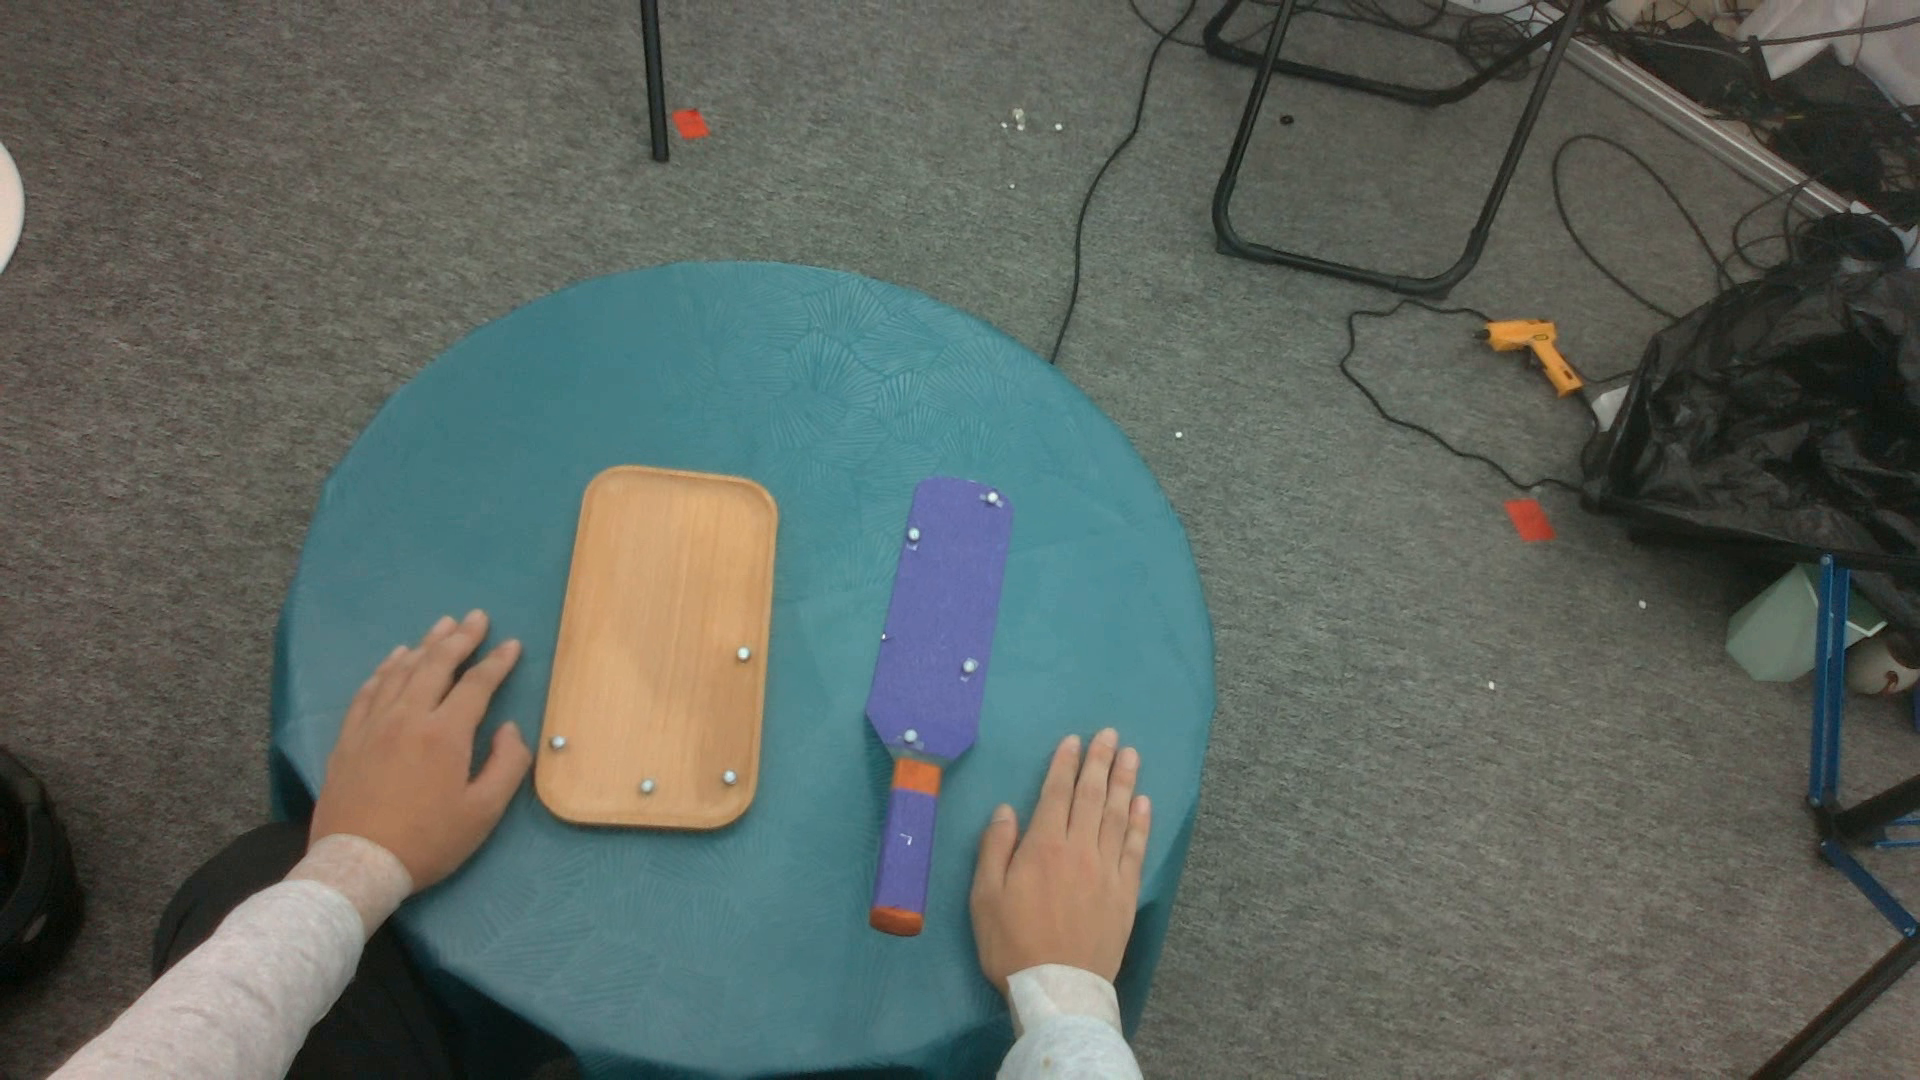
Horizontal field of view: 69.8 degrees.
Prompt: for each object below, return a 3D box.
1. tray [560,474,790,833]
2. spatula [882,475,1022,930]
[{"bbox_3d":[-0.178,0.067,0.883,0.130,0.023,0.252,6,56,-12],"label":"tray"},{"bbox_3d":[-0.006,0.083,0.872,0.075,0.086,0.360,11,31,-3],"label":"spatula"}]
